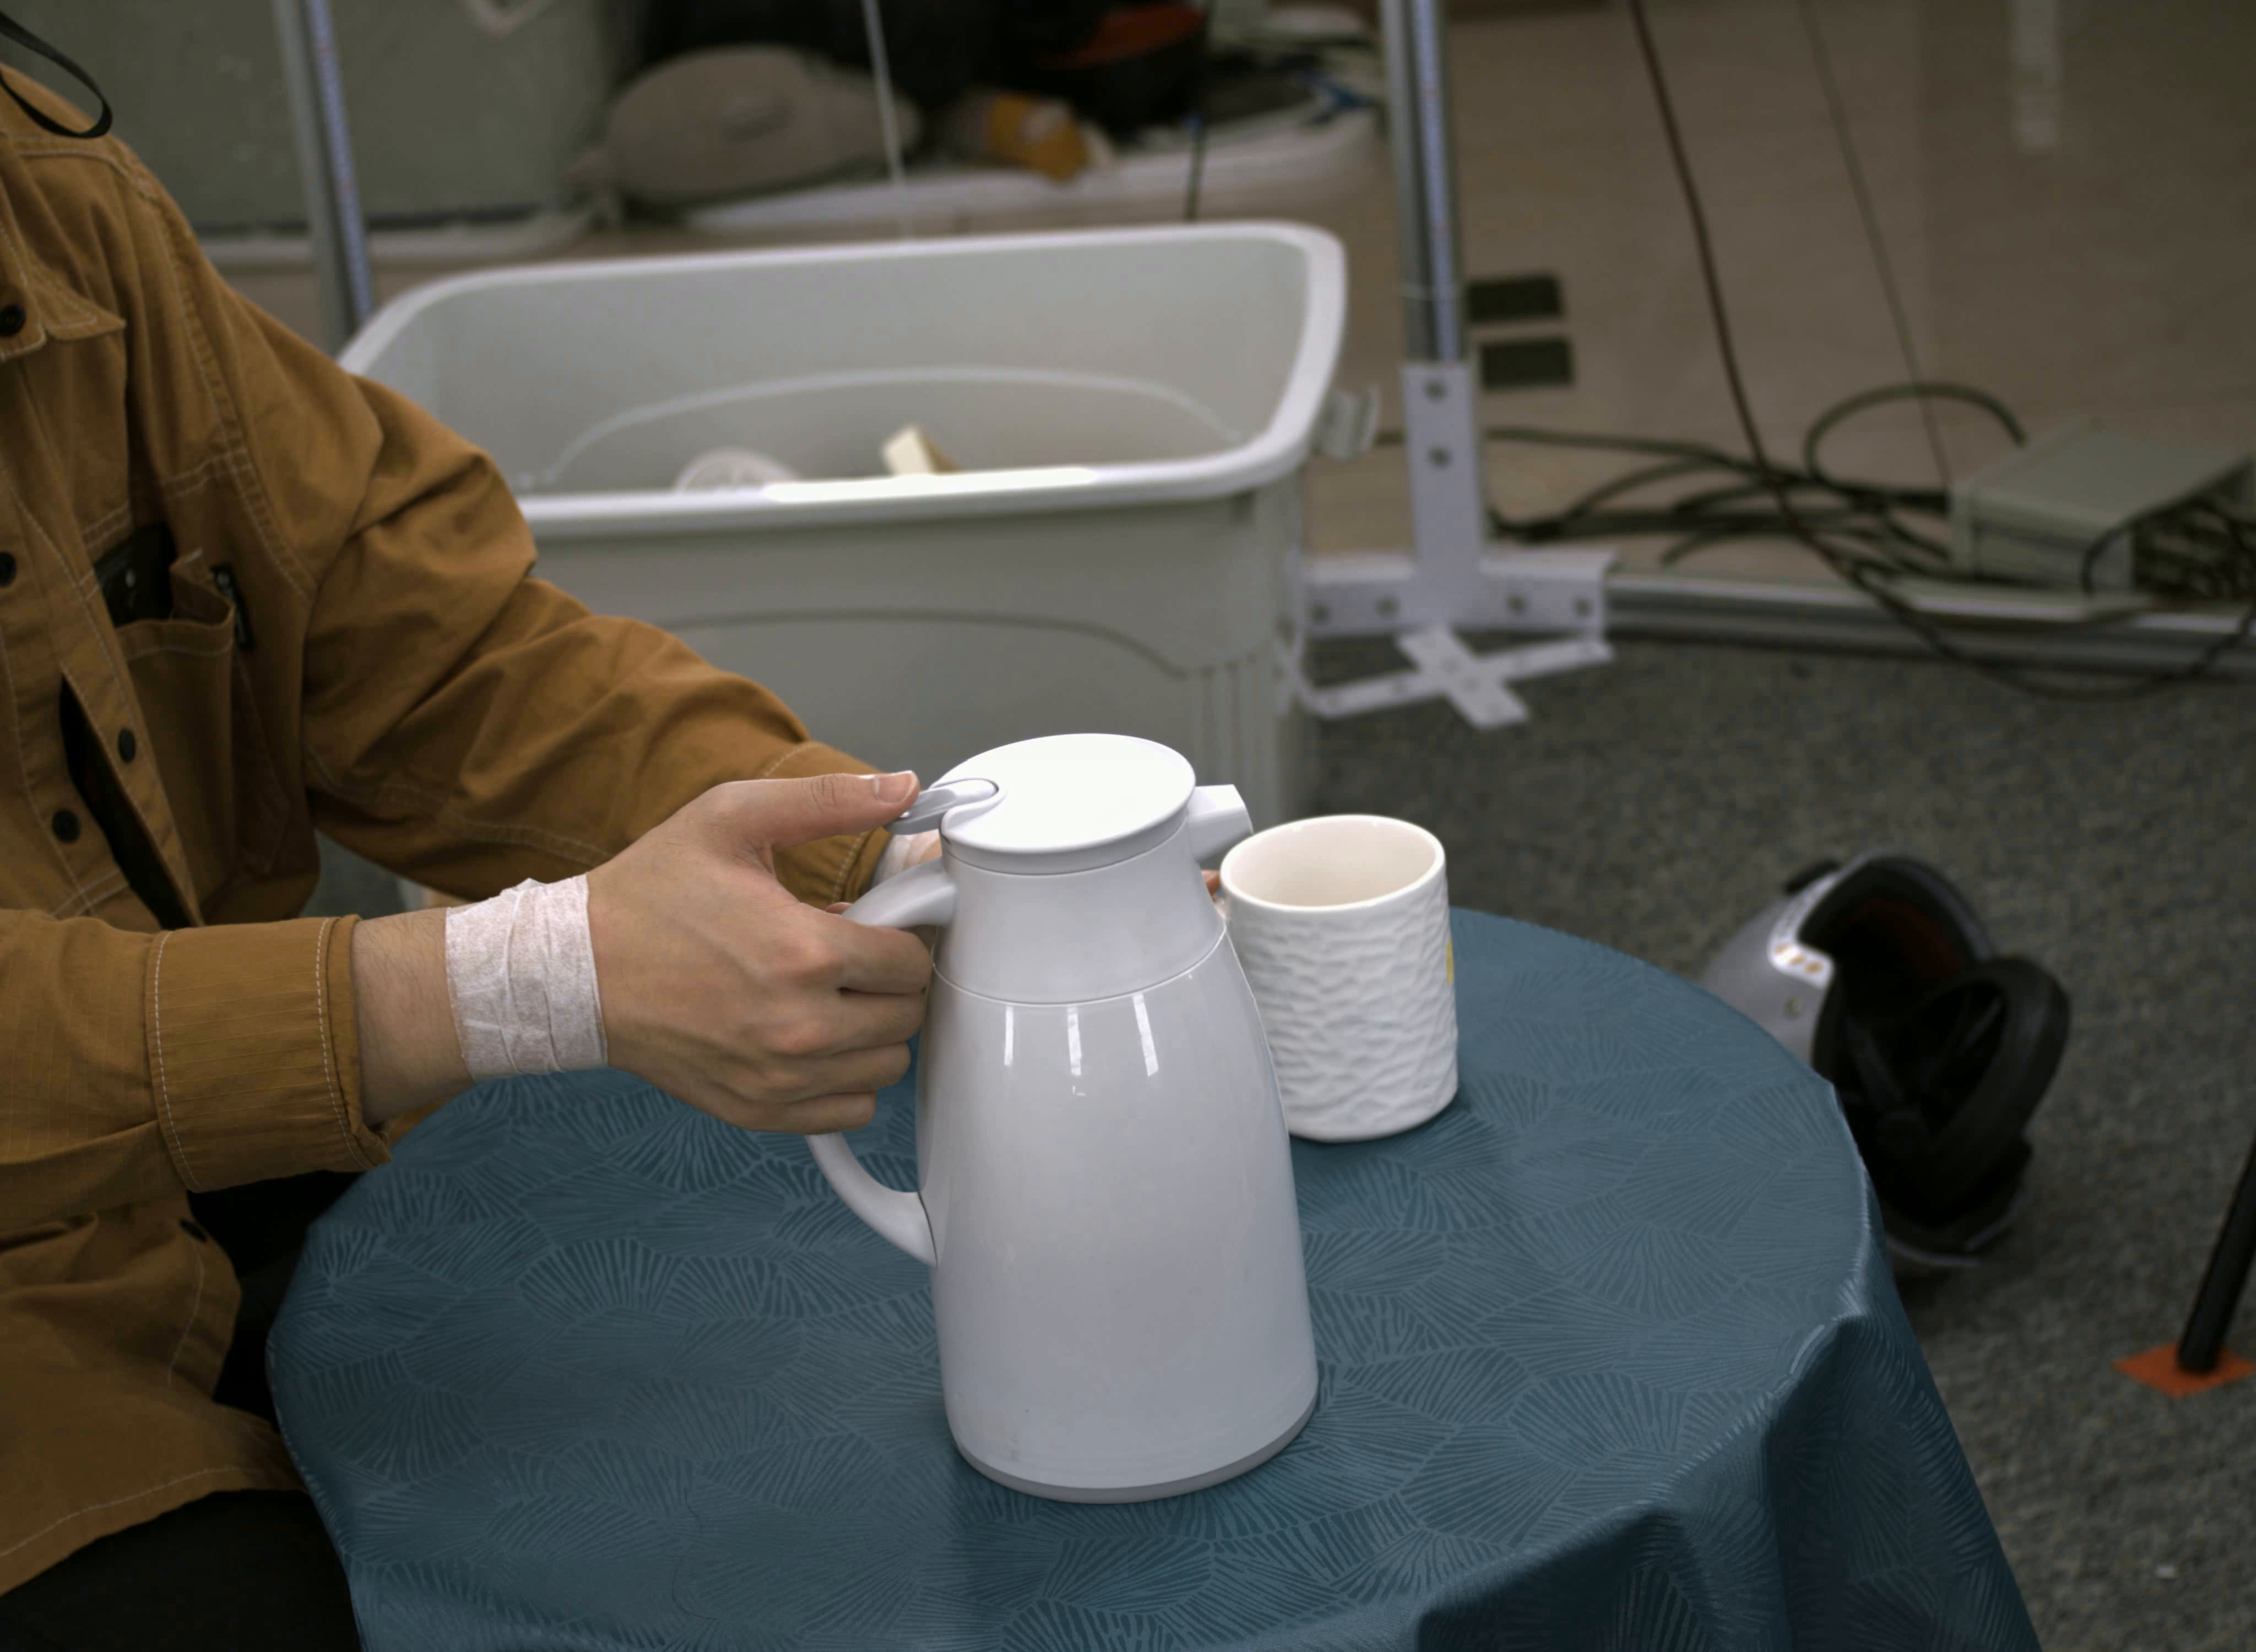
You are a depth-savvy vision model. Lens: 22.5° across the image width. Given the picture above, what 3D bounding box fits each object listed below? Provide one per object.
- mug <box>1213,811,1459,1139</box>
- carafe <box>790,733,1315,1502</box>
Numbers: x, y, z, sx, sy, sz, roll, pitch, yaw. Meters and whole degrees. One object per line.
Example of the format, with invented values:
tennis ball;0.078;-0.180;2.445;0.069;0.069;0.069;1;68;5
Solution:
mug;0.068;0.058;2.179;0.118;0.103;0.083;0;27;9
carafe;-0.029;0.097;1.948;0.167;0.253;0.130;-11;27;-9
